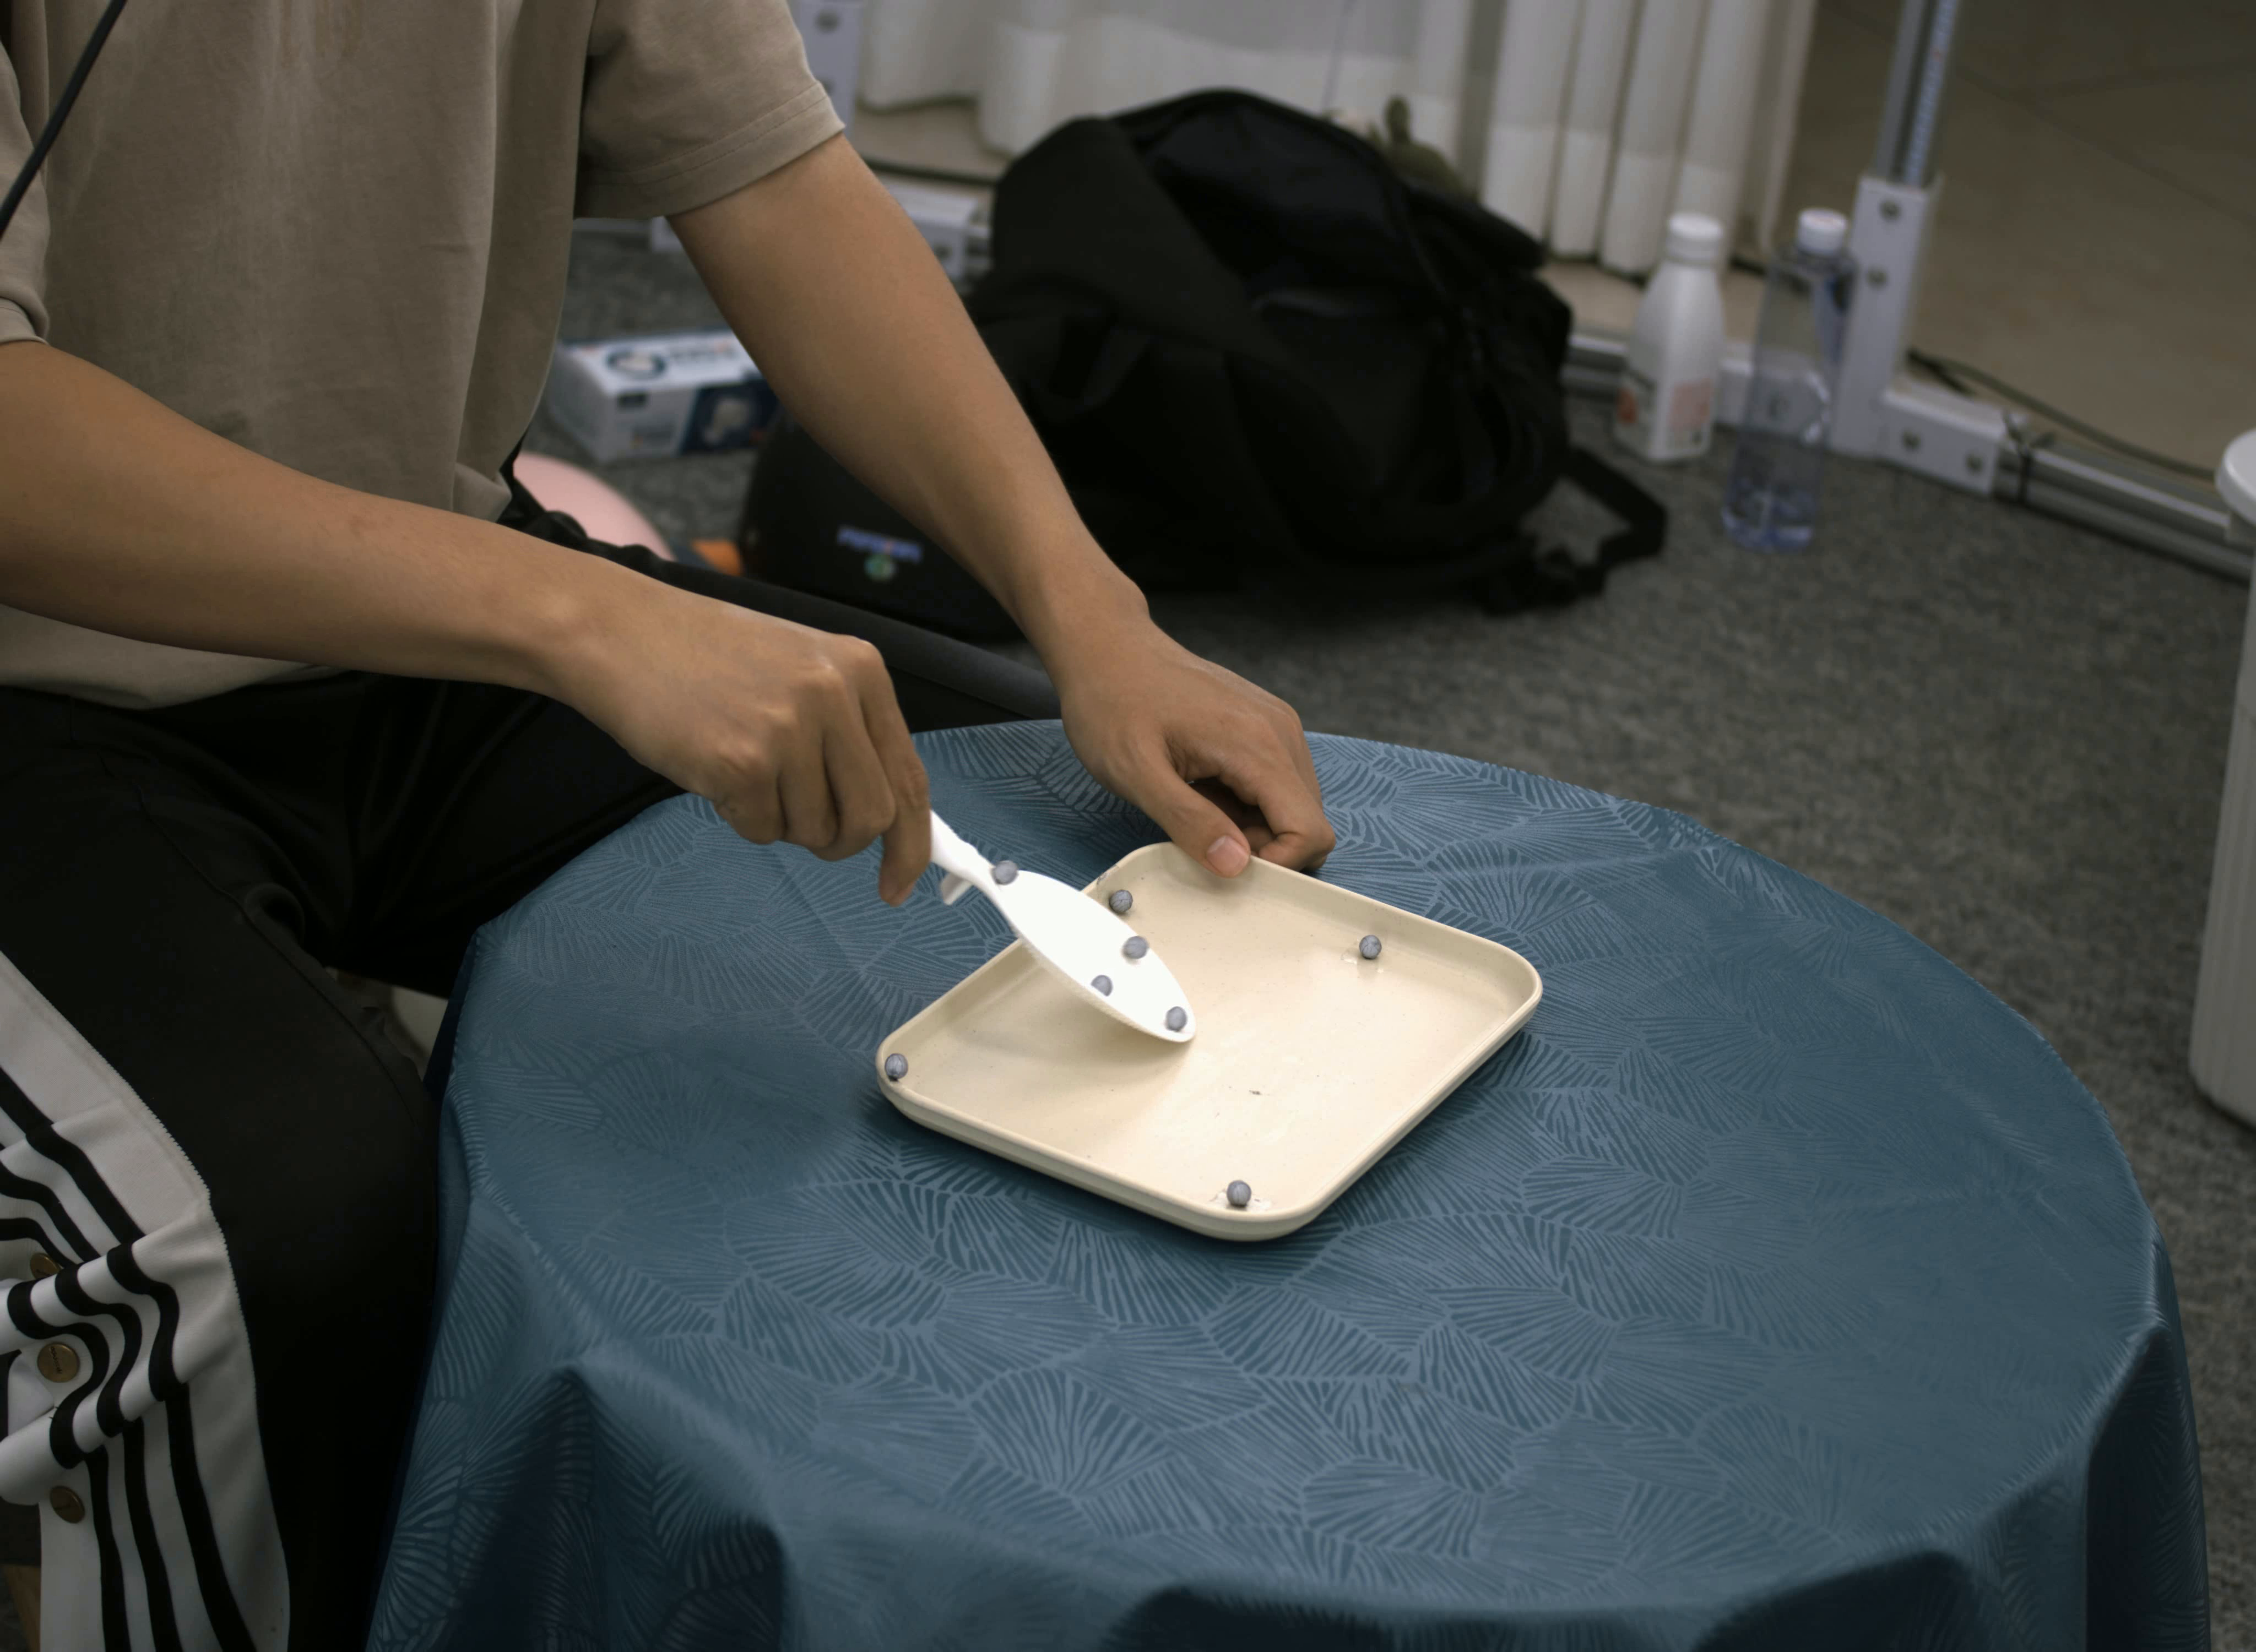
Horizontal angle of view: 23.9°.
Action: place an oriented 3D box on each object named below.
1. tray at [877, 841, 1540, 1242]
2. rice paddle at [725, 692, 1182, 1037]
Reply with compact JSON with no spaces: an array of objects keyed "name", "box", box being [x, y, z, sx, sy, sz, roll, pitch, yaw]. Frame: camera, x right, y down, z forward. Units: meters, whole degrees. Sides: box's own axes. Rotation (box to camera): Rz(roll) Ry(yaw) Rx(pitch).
[{"name":"tray","box":[0.031,0.075,1.887,0.172,0.017,0.239,20,29,22]},{"name":"rice paddle","box":[-0.054,0.016,1.857,0.203,0.029,0.069,34,22,-28]}]
